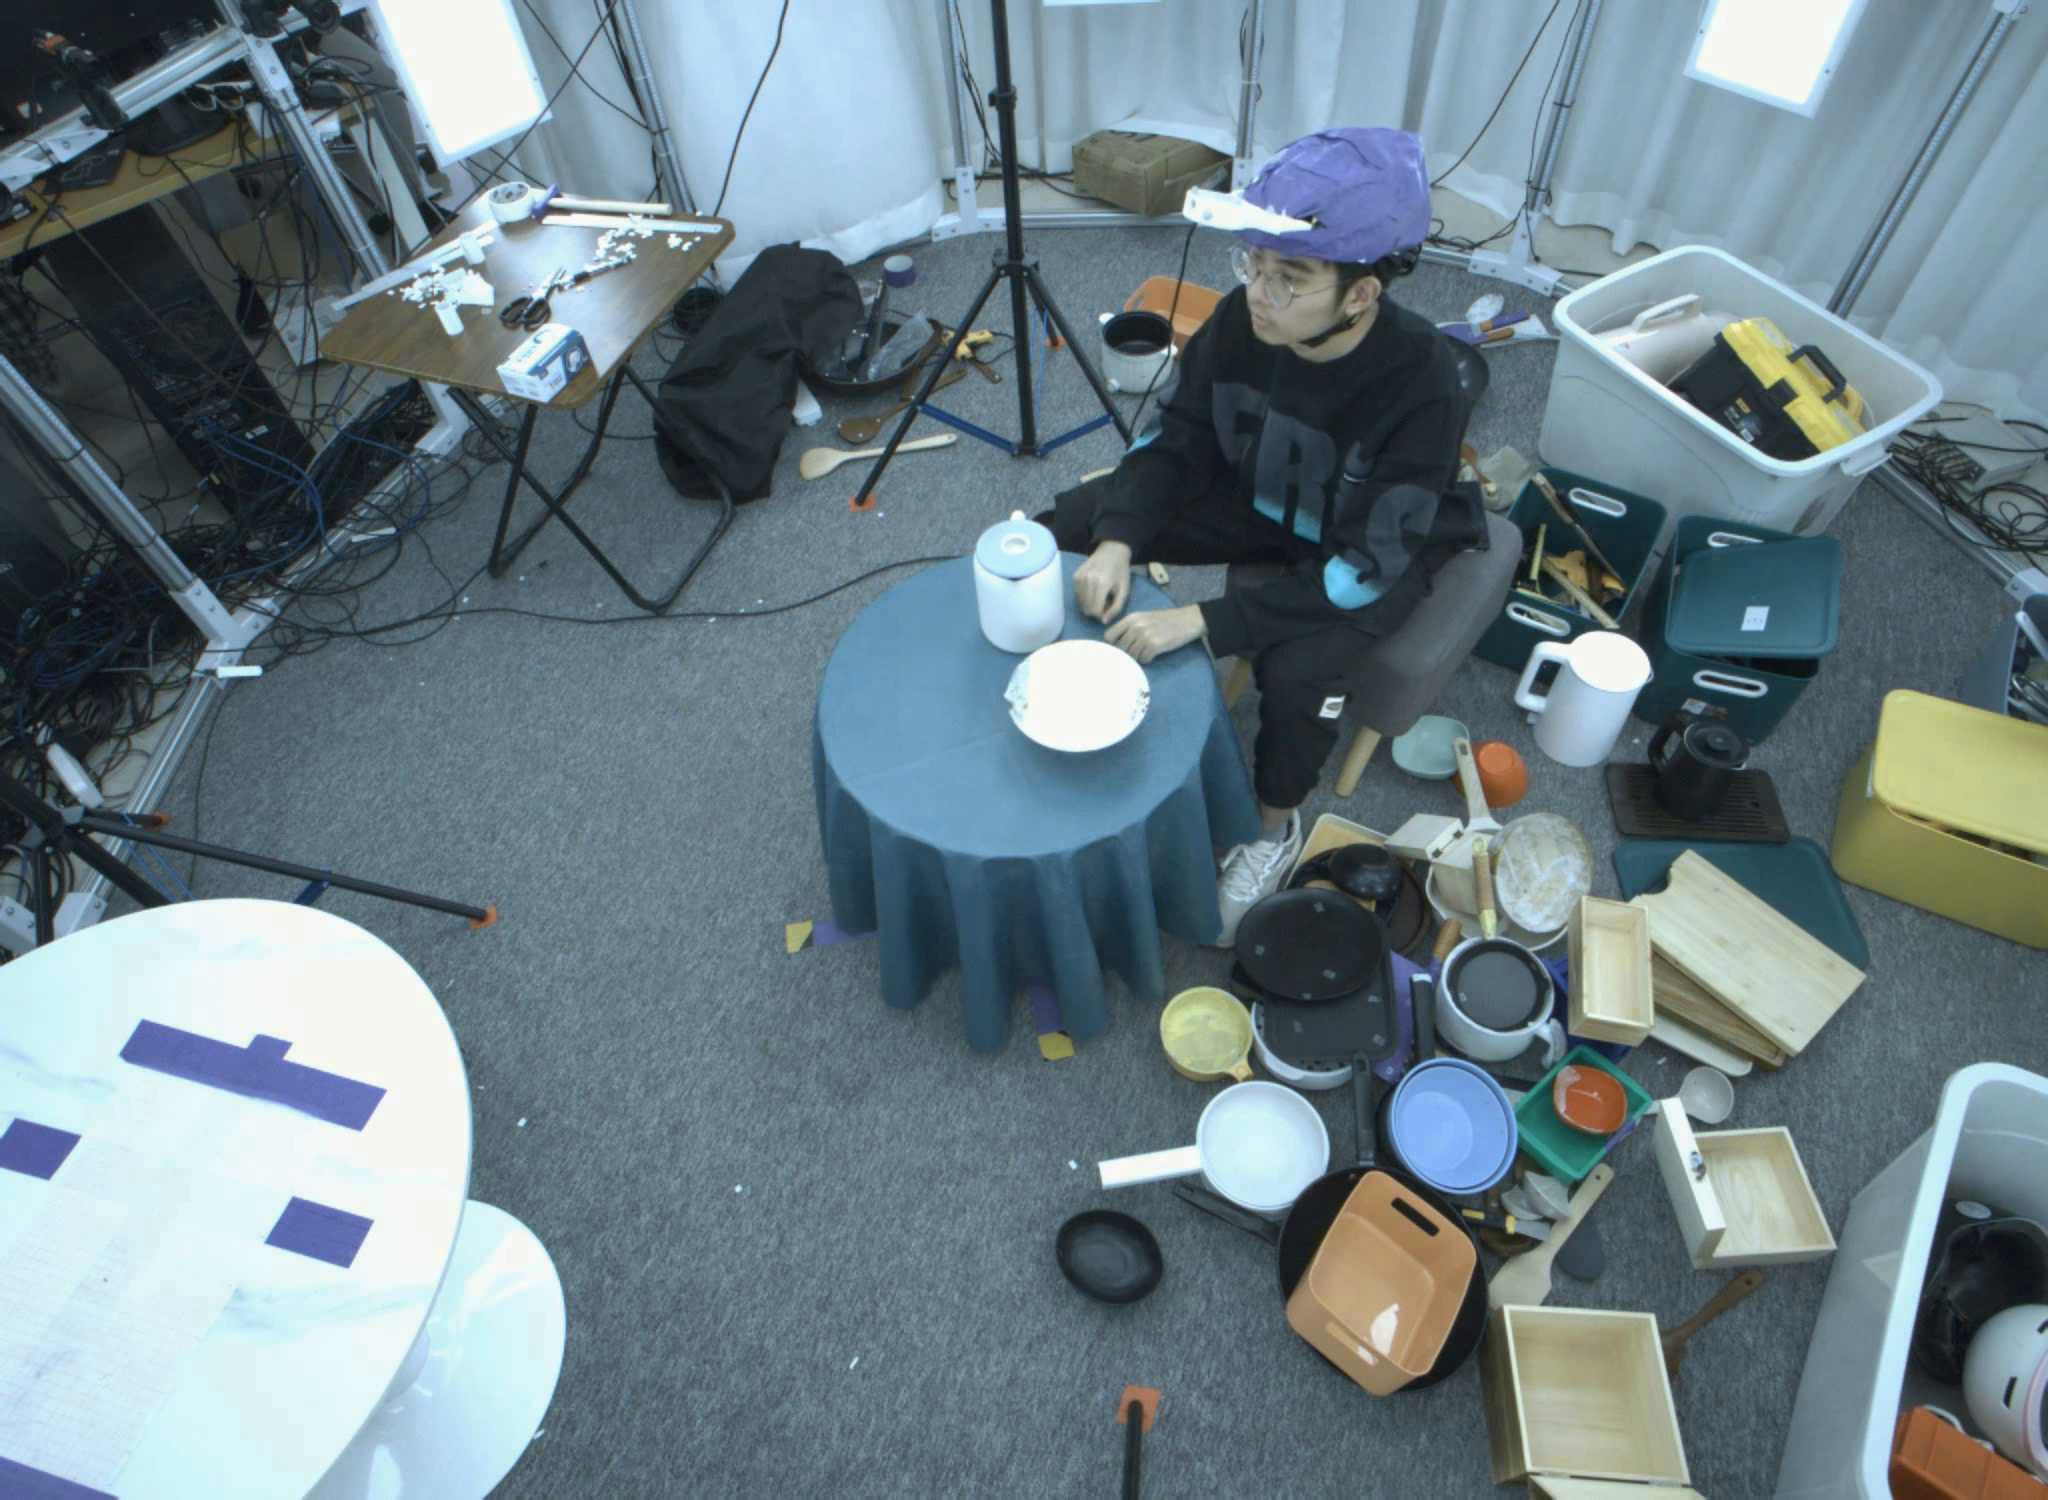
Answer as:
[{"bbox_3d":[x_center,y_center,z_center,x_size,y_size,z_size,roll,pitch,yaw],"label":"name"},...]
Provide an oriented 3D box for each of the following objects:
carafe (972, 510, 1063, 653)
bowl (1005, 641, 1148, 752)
[{"bbox_3d":[-0.010,-0.267,1.868,0.132,0.184,0.189,-3,52,1],"label":"carafe"},{"bbox_3d":[0.075,-0.057,1.777,0.204,0.078,0.202,2,53,-1],"label":"bowl"}]
